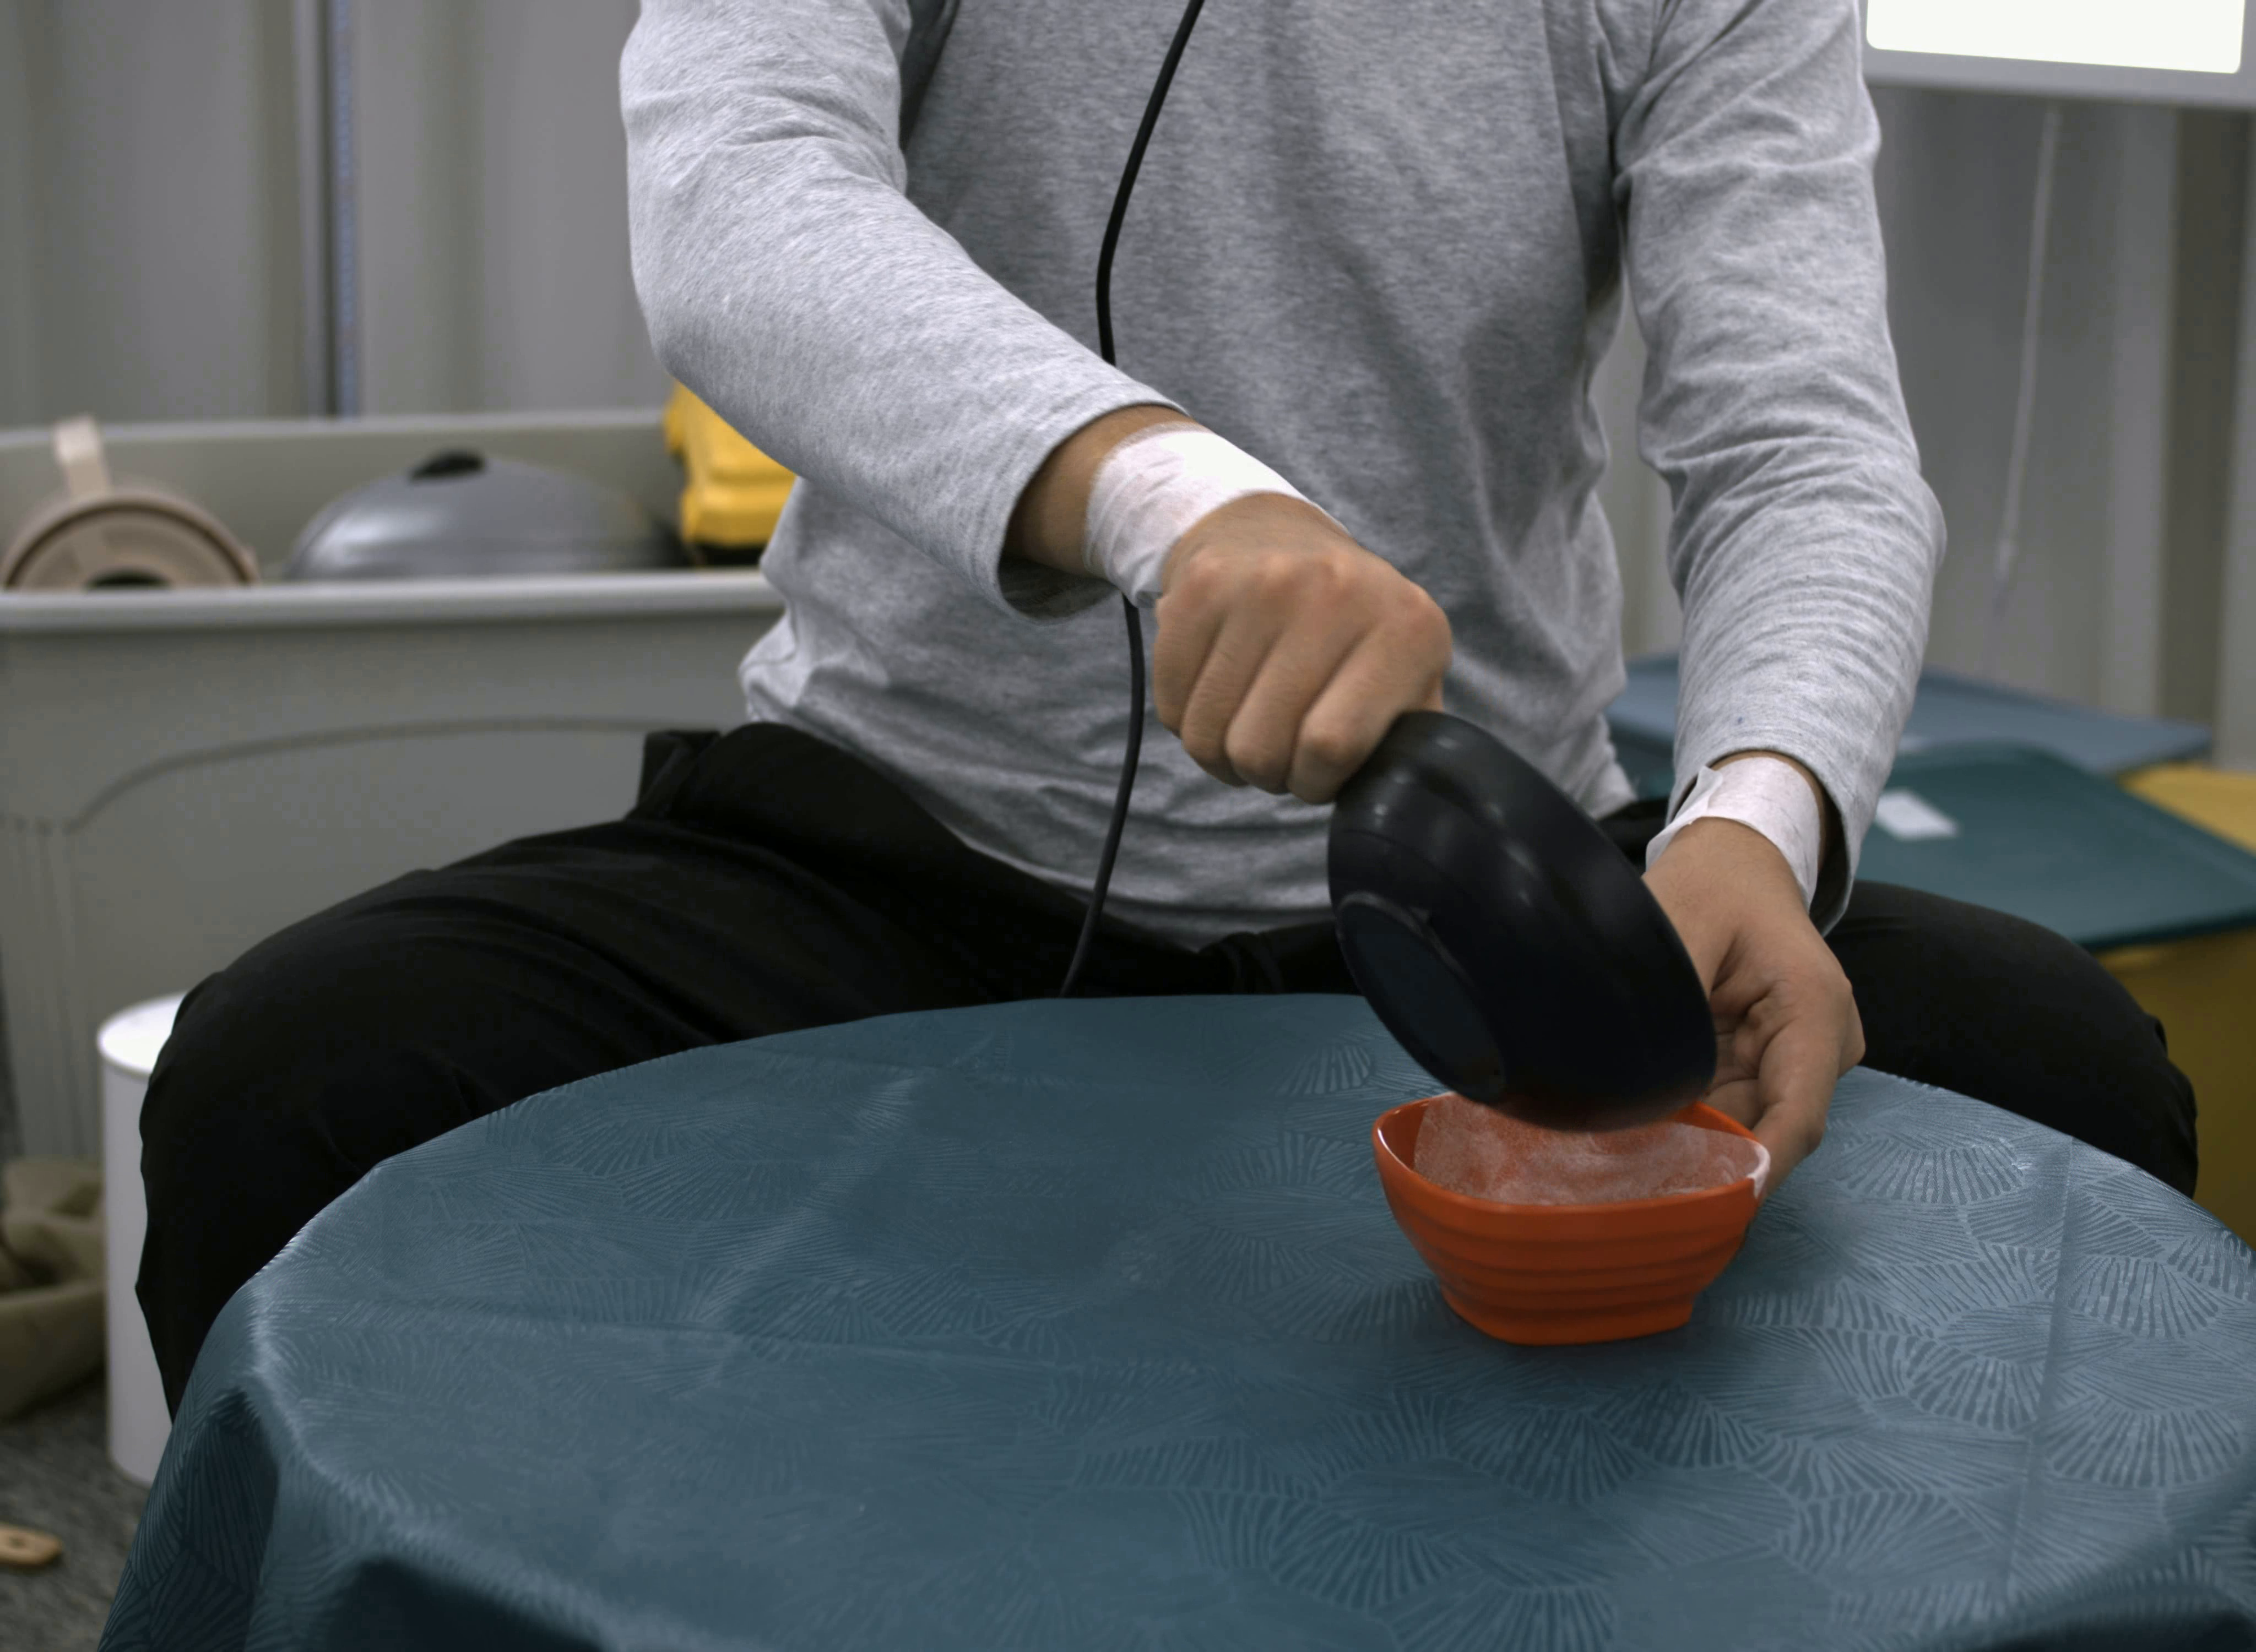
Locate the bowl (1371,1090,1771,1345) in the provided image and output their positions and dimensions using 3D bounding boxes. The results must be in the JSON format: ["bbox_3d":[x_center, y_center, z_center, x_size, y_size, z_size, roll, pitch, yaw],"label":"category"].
[{"bbox_3d":[0.127,0.113,1.527,0.118,0.052,0.118,0,17,1],"label":"bowl"}]

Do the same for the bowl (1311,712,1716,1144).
[{"bbox_3d":[0.098,0.039,1.477,0.050,0.142,0.138,-40,35,-25],"label":"bowl"}]
